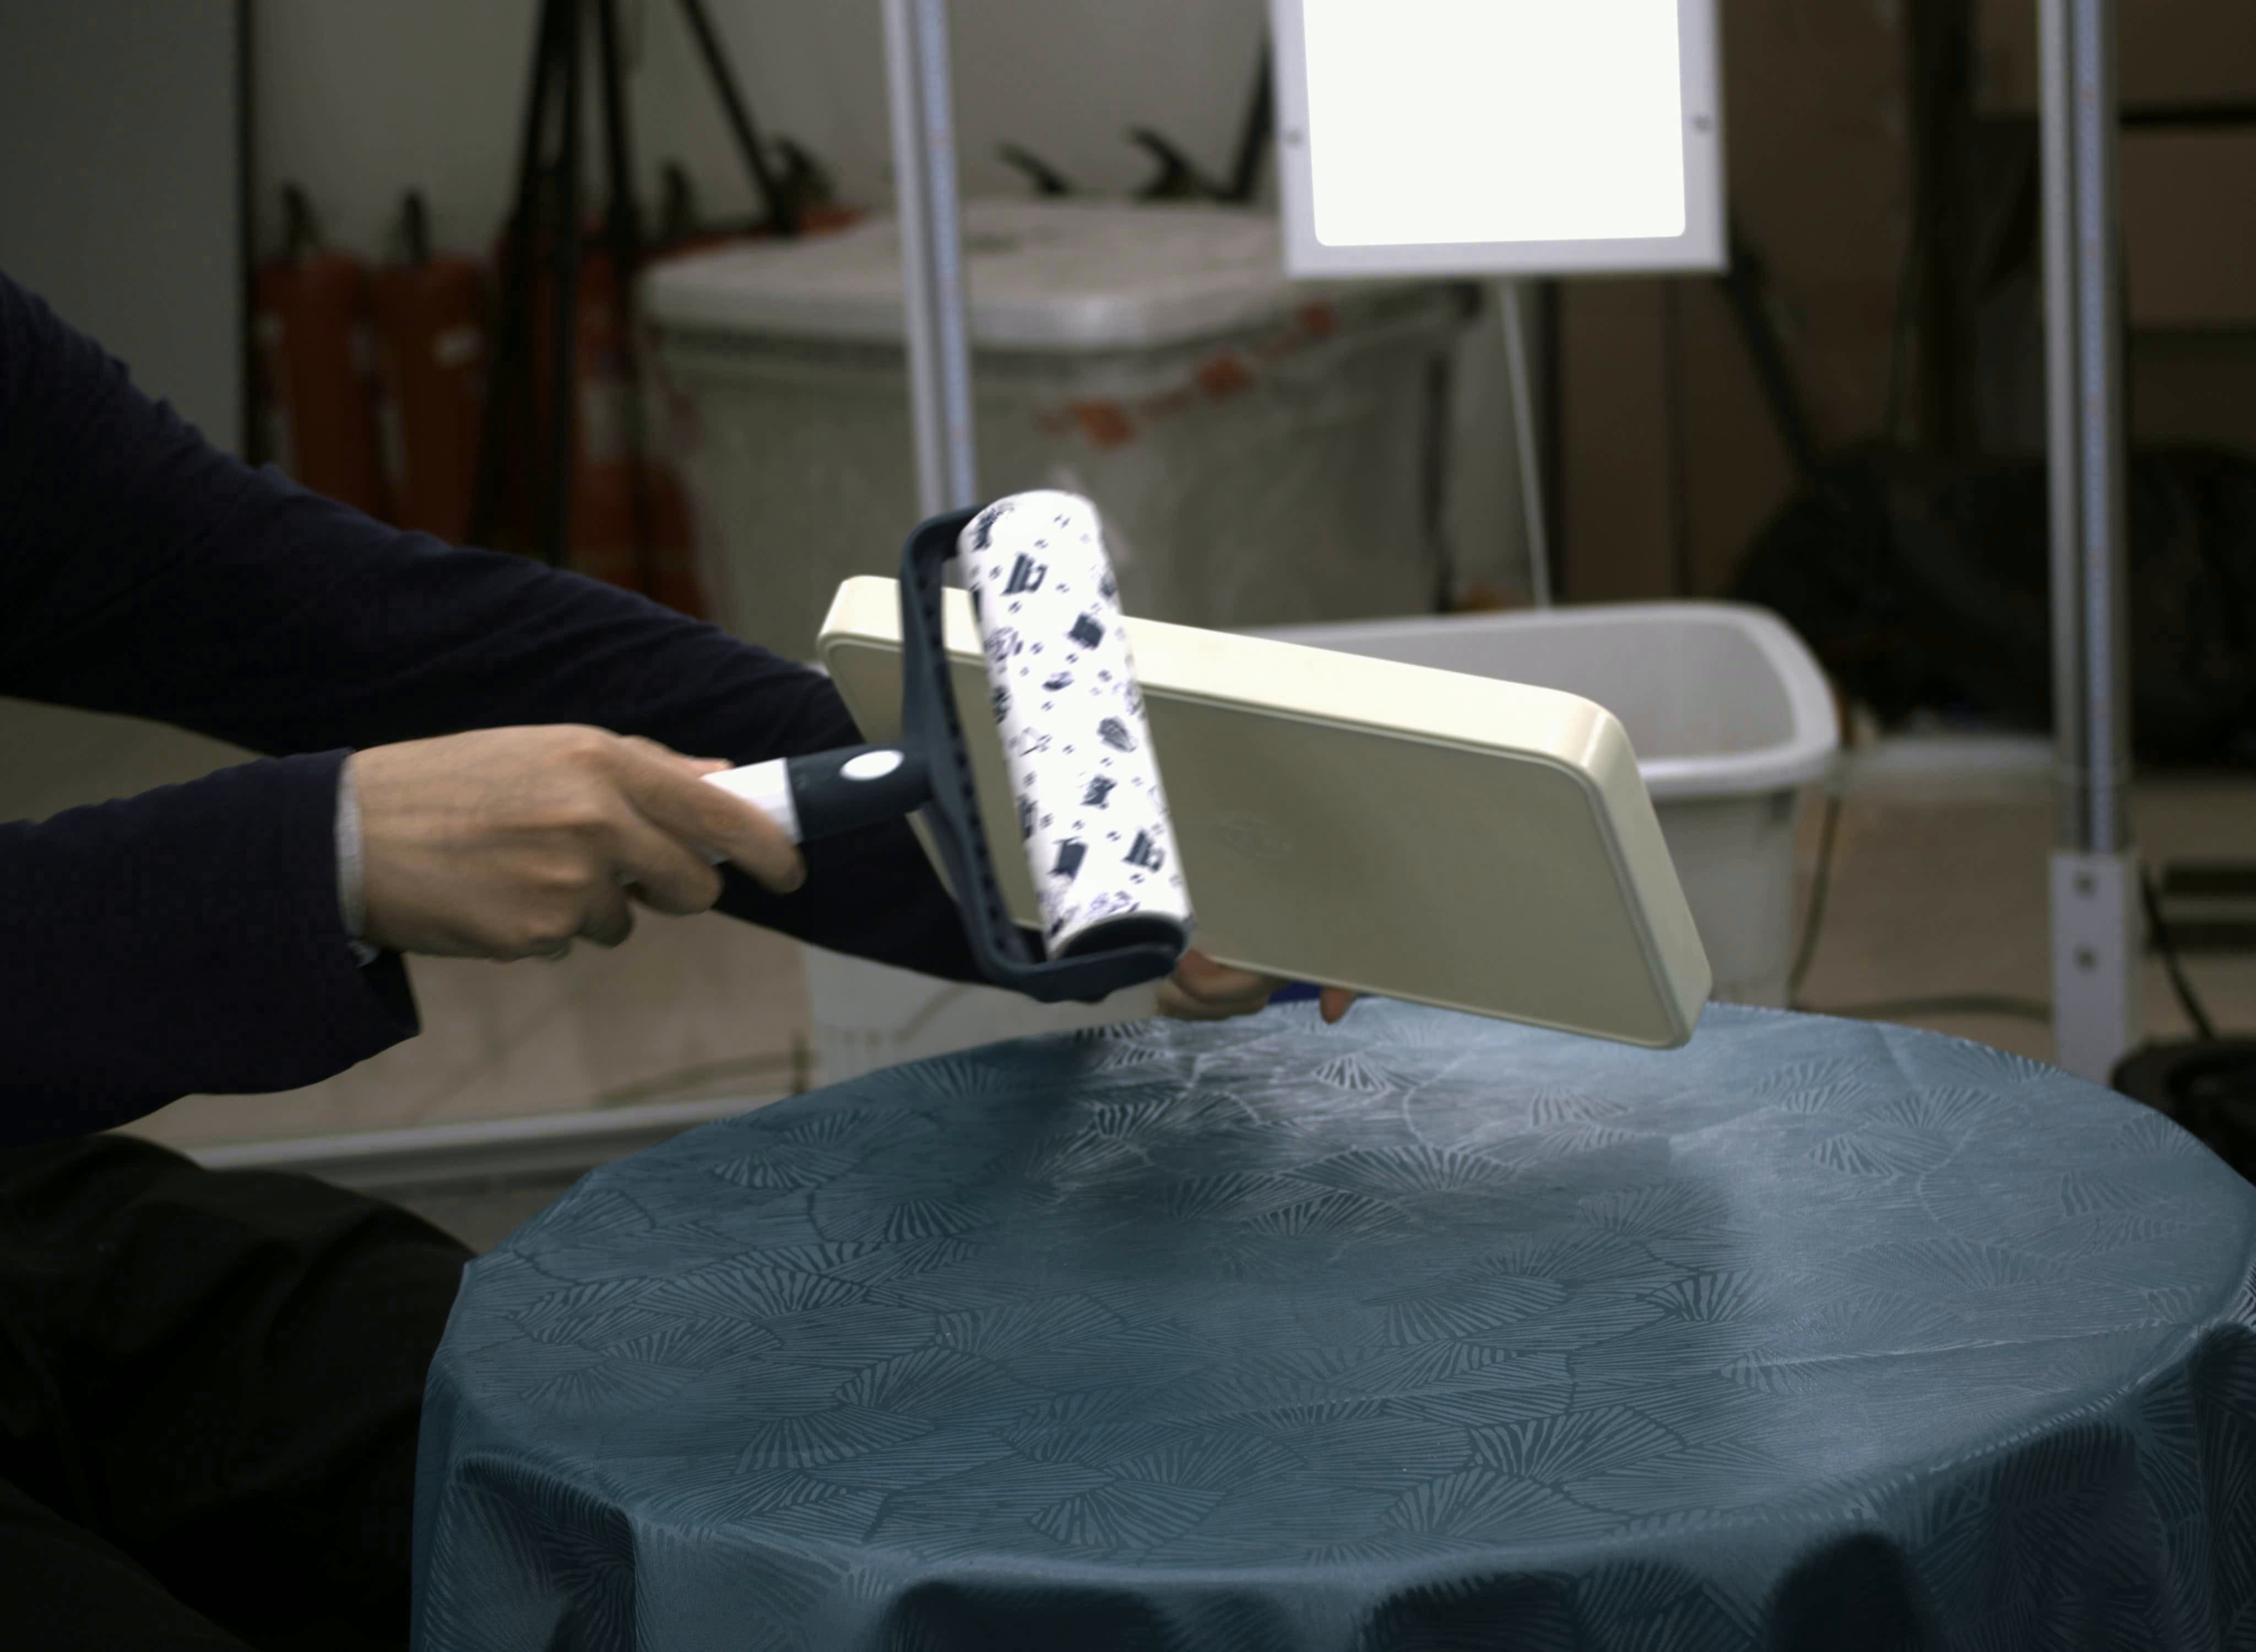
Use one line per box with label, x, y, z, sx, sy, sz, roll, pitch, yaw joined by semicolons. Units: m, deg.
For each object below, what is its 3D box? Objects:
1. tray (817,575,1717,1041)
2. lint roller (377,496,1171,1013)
tray;0.049;-0.005;1.932;0.305;0.190;0.027;10;61;27
lint roller;-0.121;-0.003;1.762;0.246;0.177;0.050;-14;-29;0
